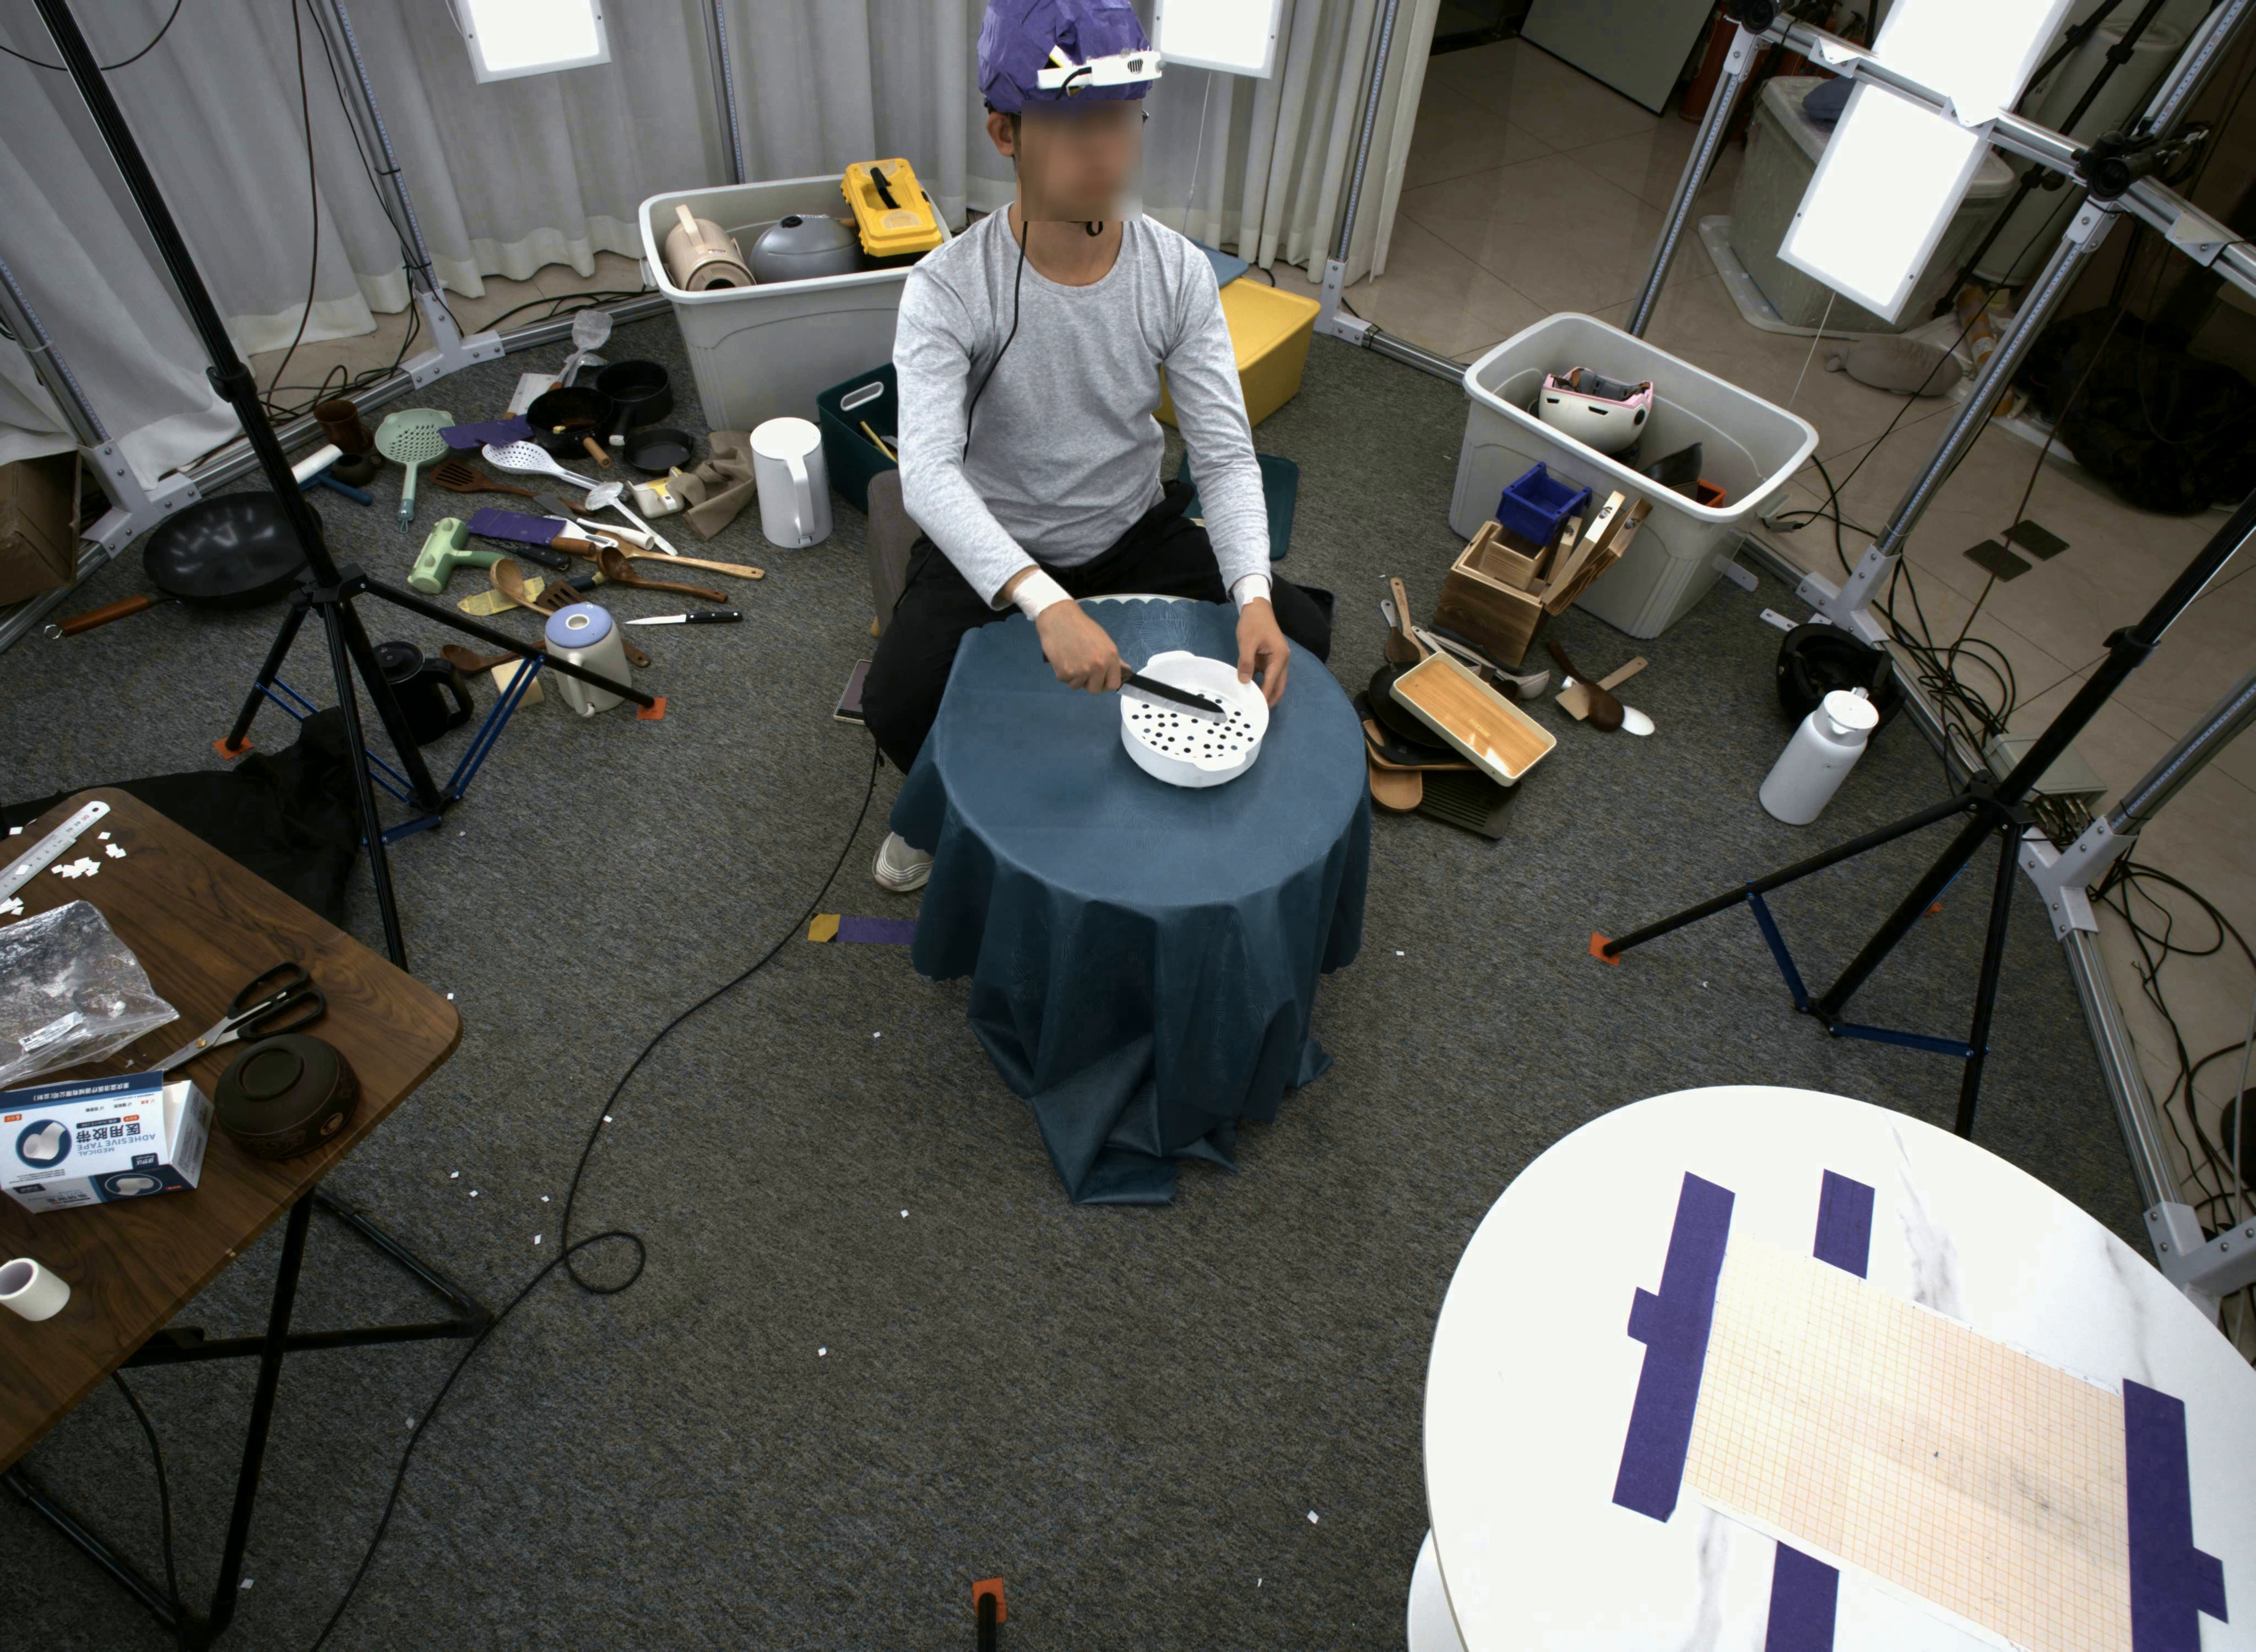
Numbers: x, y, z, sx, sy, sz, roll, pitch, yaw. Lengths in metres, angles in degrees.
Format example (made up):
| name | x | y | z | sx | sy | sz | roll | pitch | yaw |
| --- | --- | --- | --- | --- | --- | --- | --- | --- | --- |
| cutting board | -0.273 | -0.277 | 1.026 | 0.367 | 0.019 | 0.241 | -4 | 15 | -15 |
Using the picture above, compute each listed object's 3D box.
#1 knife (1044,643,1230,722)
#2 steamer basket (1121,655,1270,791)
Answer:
| name | x | y | z | sx | sy | sz | roll | pitch | yaw |
| --- | --- | --- | --- | --- | --- | --- | --- | --- | --- |
| knife | 0.015 | -0.186 | 1.699 | 0.286 | 0.049 | 0.020 | 18 | 51 | -23 |
| steamer basket | 0.090 | -0.137 | 1.749 | 0.202 | 0.067 | 0.236 | -11 | 50 | -14 |
